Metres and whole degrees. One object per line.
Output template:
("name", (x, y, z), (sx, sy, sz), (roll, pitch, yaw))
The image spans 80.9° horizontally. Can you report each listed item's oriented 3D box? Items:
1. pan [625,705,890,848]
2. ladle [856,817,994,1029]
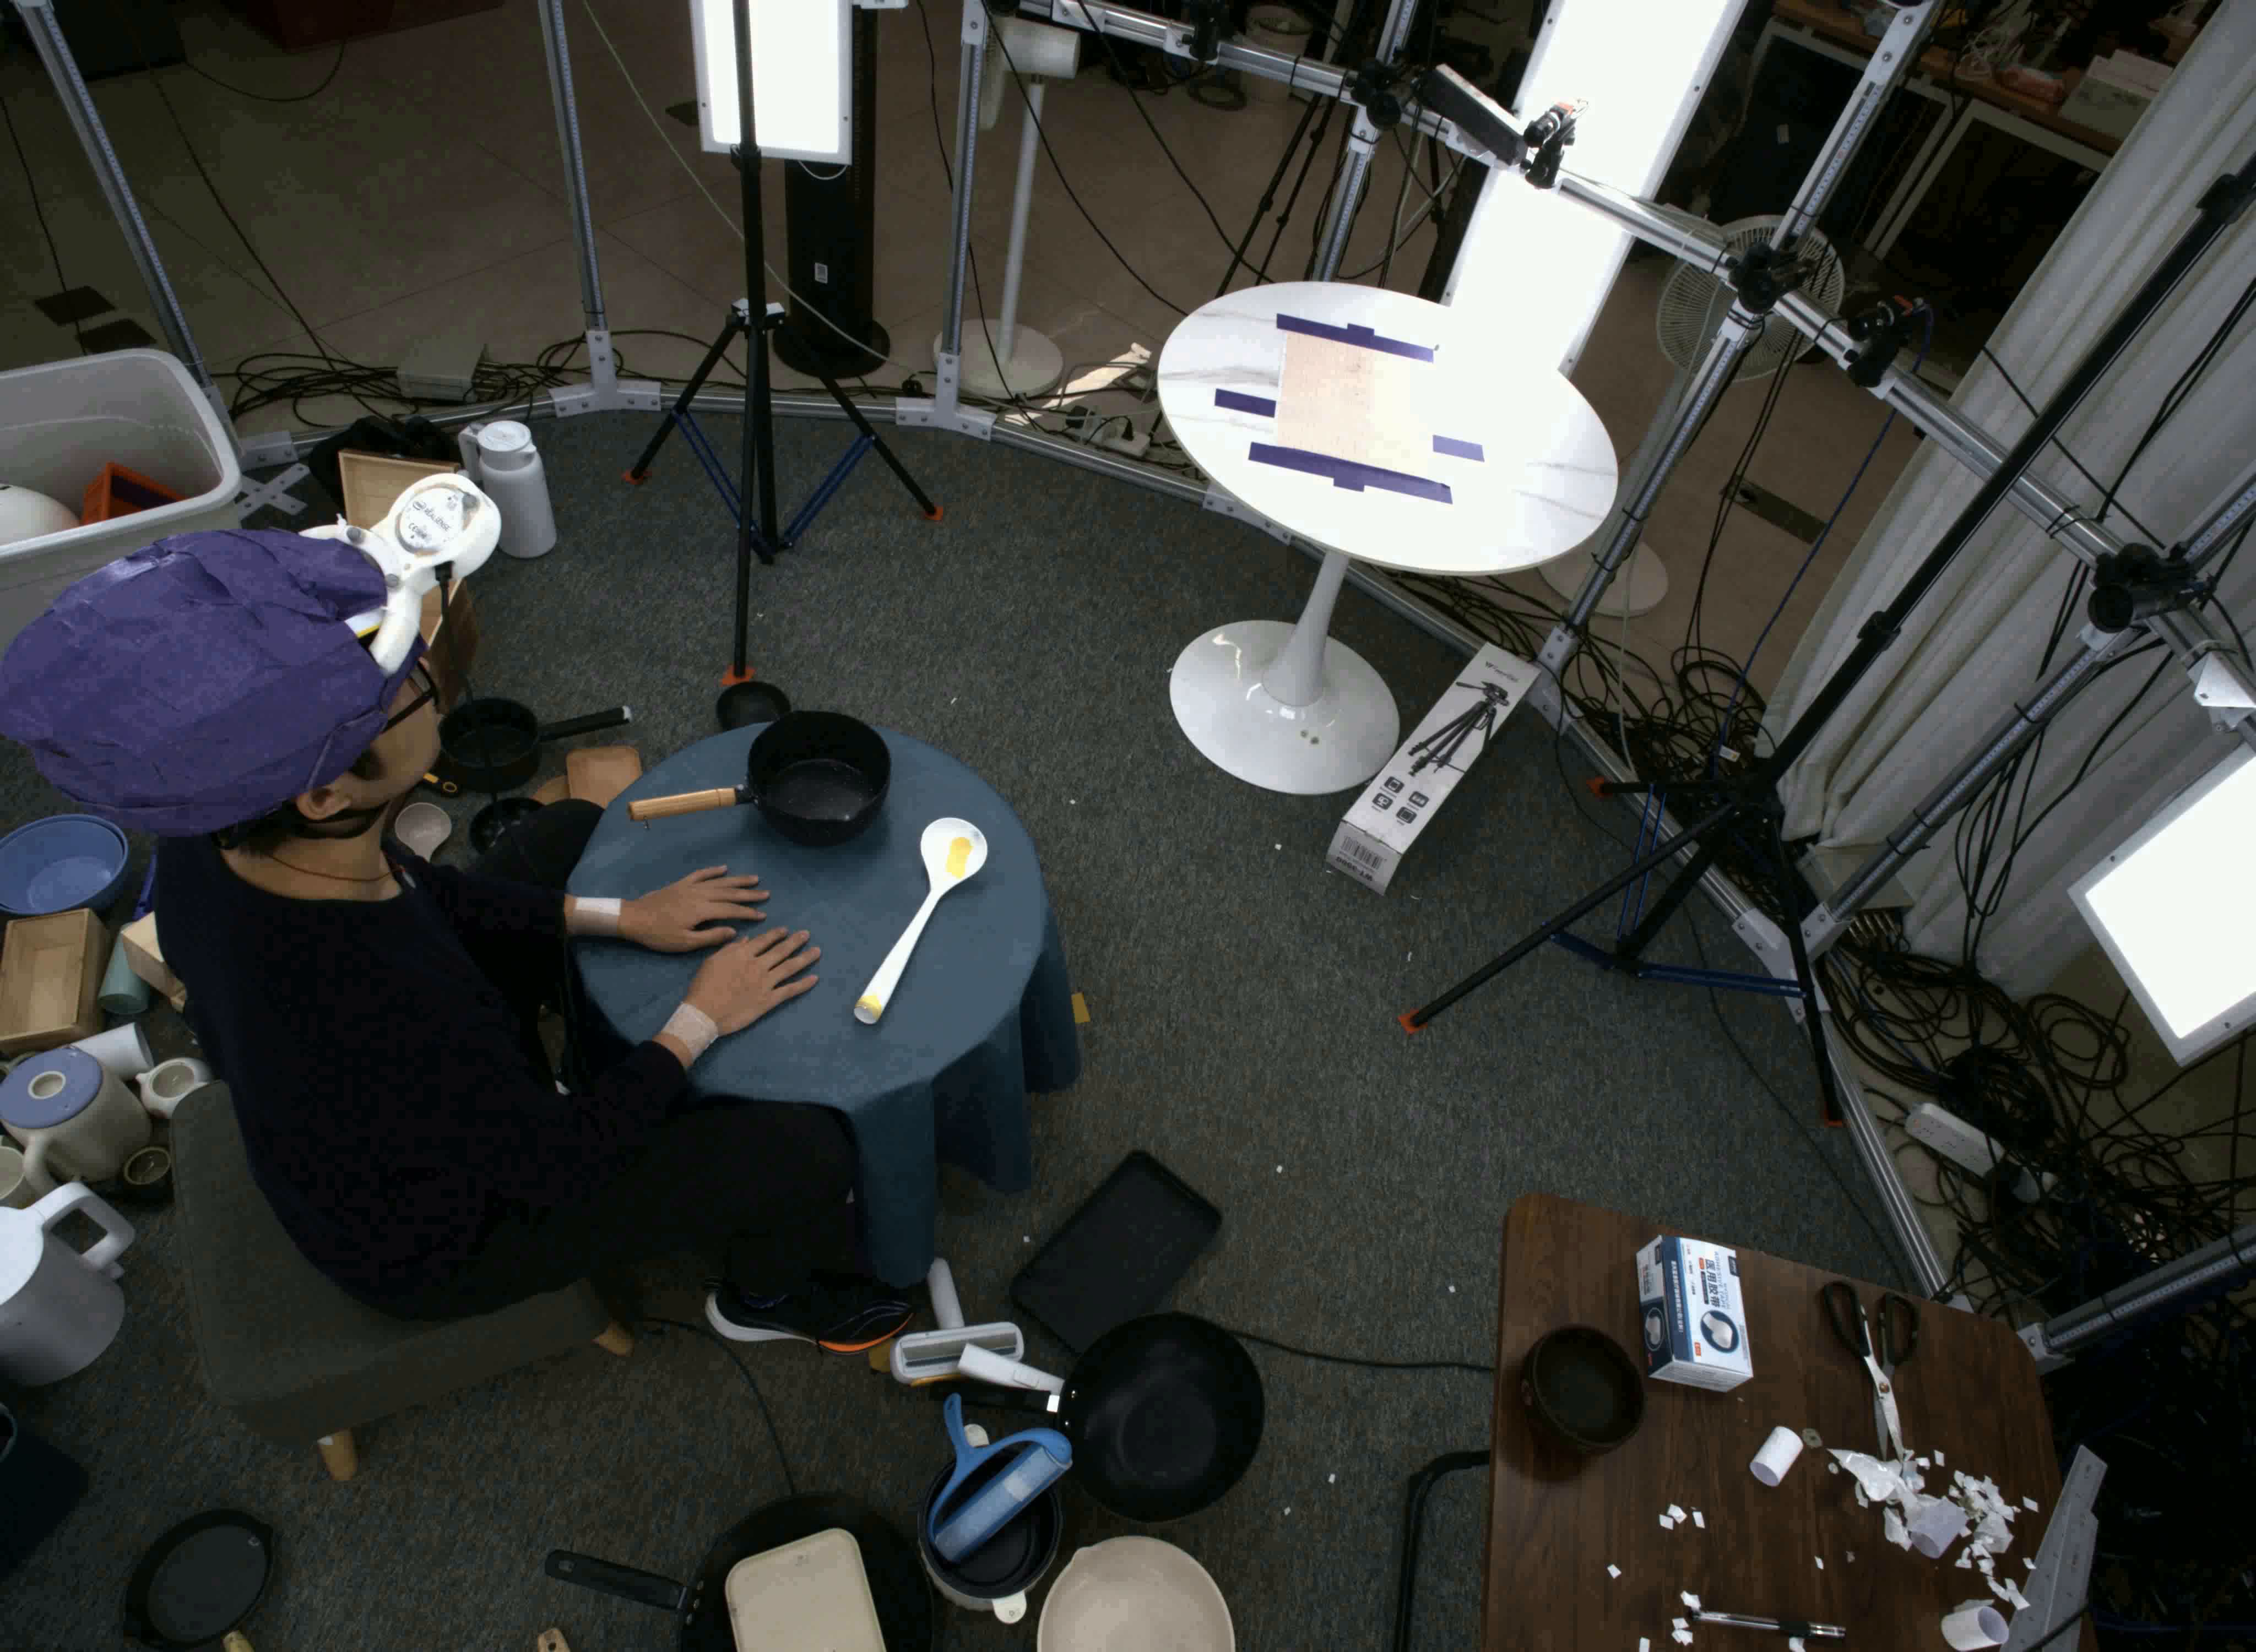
("pan", (-0.472, -0.041, 1.661), (0.345, 0.110, 0.202), (-20, 62, -29))
("ladle", (-0.259, 0.117, 1.629), (0.089, 0.071, 0.290), (25, 52, 1))
